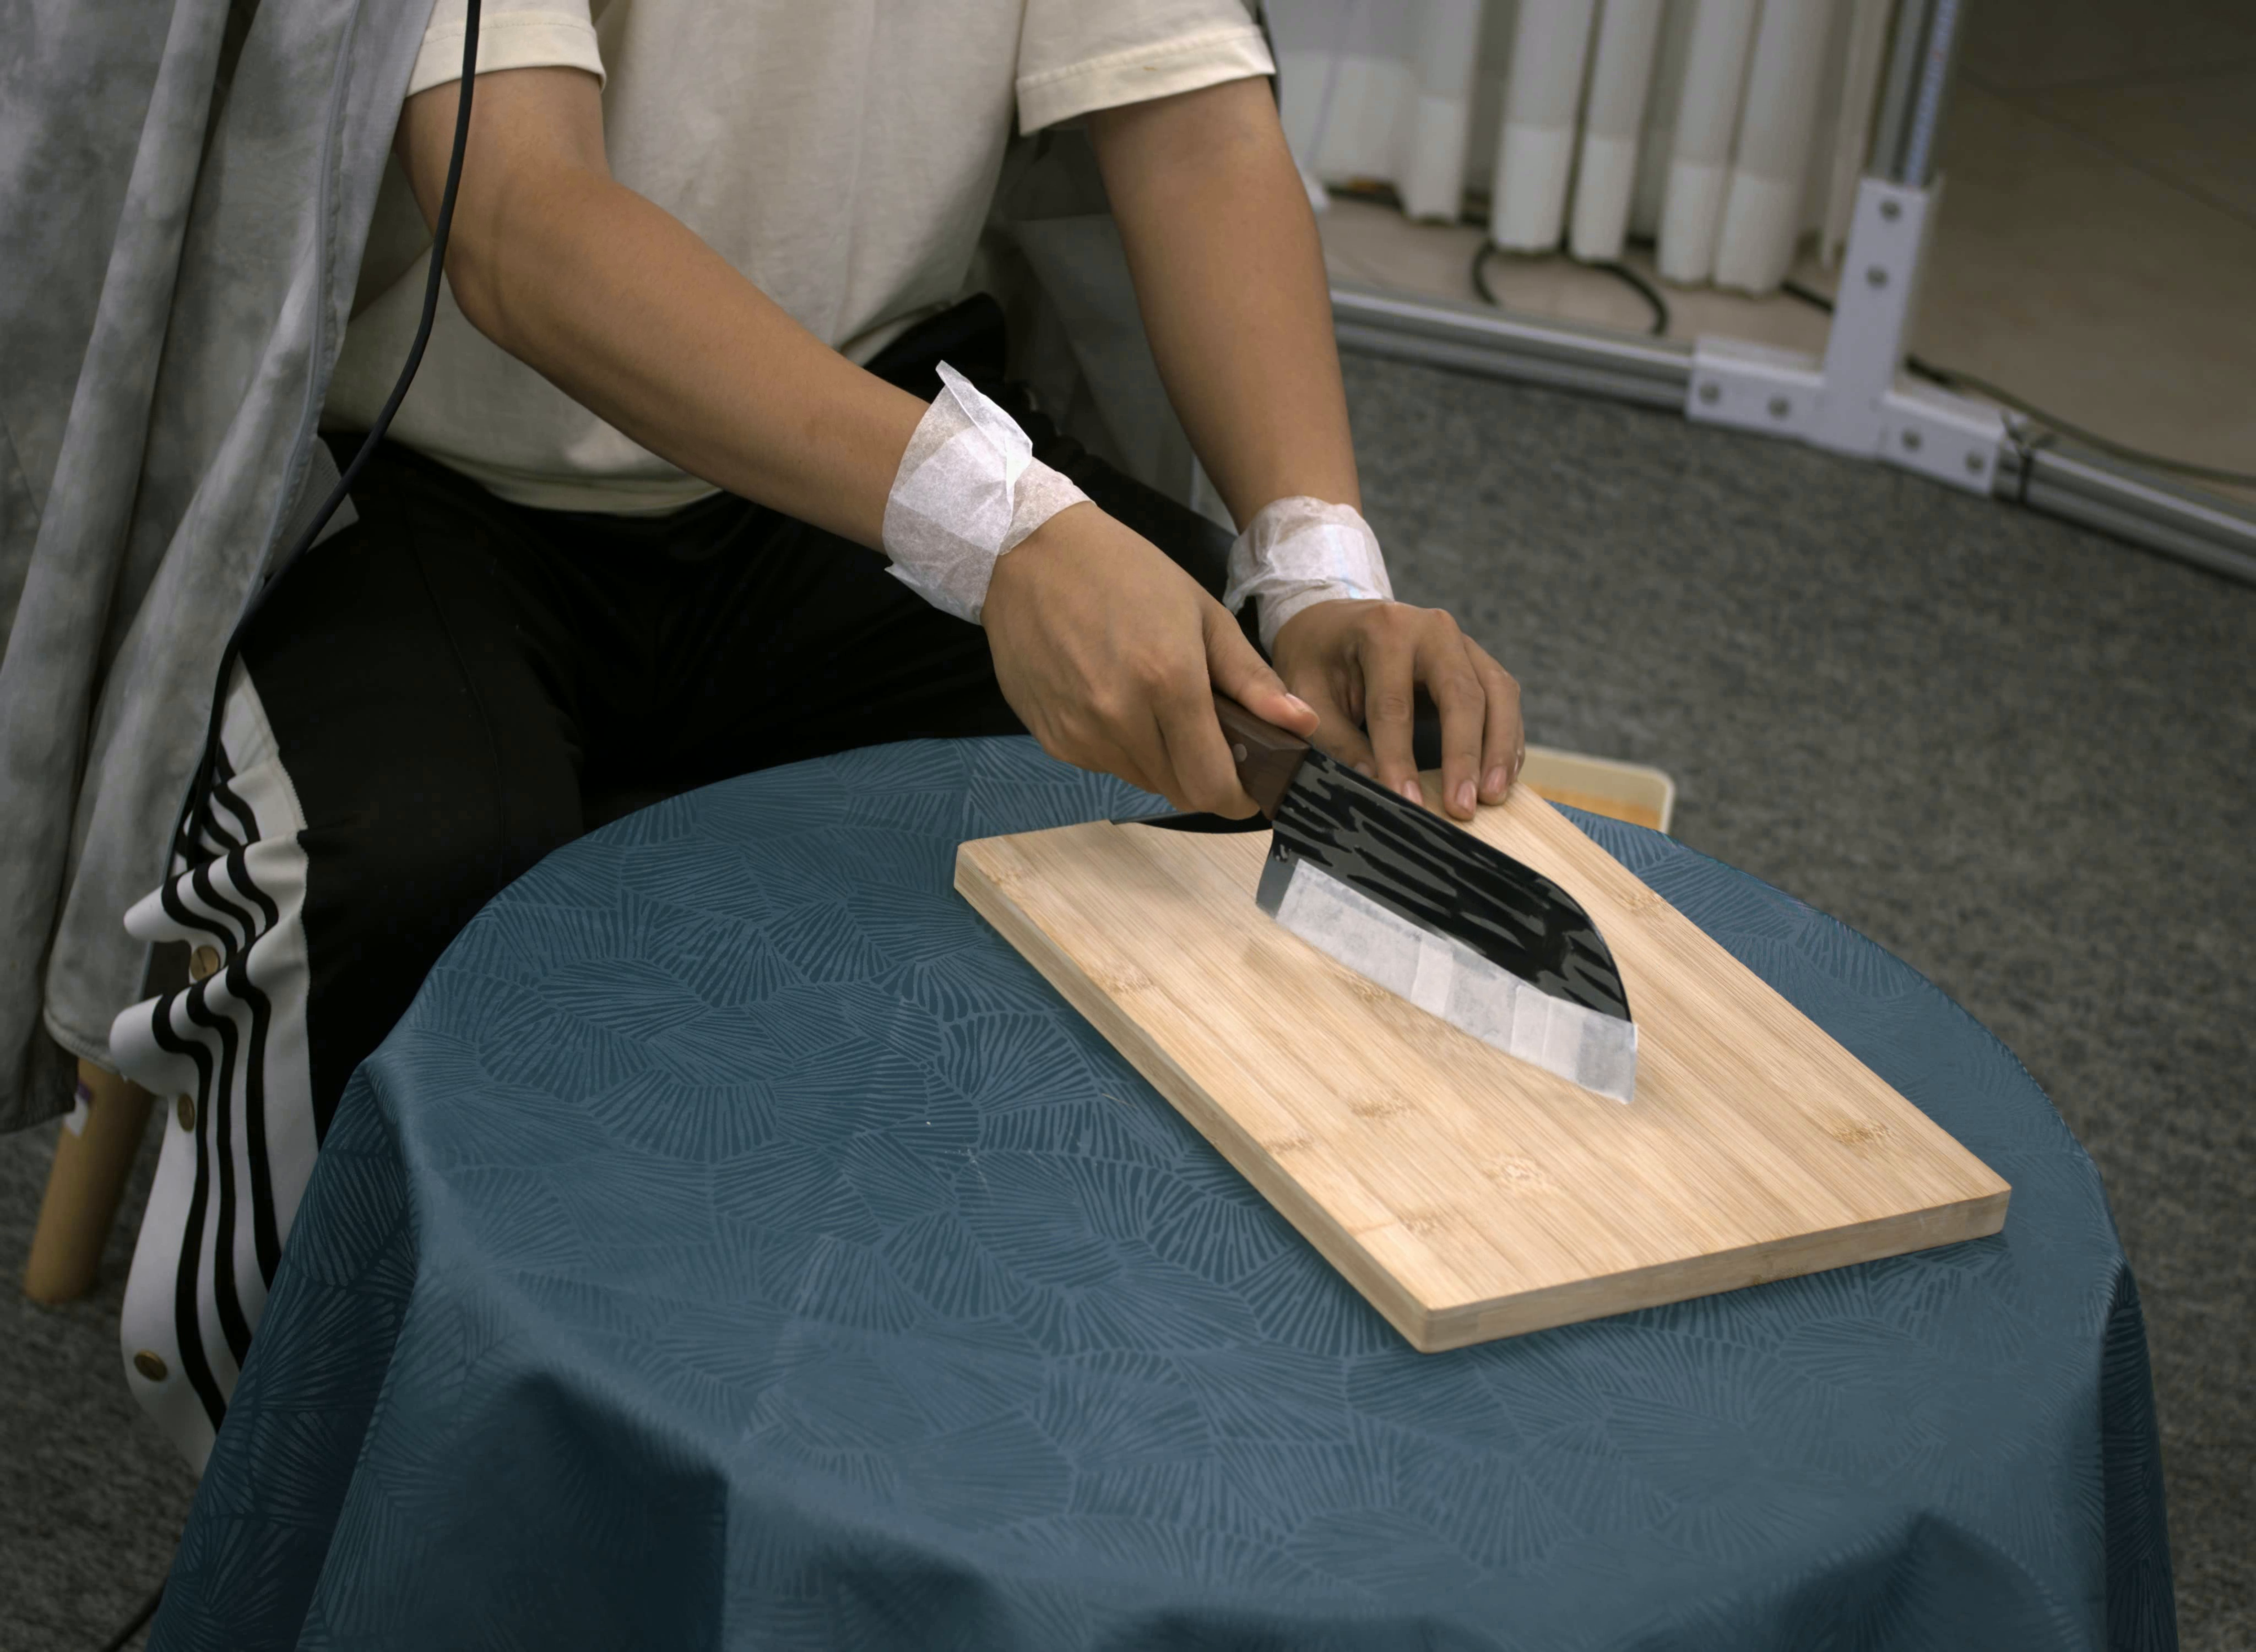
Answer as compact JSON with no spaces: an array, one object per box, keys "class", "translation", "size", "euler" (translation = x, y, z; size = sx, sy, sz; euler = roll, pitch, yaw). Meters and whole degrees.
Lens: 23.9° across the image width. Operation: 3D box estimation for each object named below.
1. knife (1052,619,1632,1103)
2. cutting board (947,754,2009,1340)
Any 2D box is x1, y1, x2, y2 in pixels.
[{"class":"knife","translation":[0.074,0.011,1.923],"size":[0.302,0.068,0.024],"euler":[32,22,35]},{"class":"cutting board","translation":[0.118,0.072,1.915],"size":[0.249,0.023,0.352],"euler":[-9,31,-29]}]
